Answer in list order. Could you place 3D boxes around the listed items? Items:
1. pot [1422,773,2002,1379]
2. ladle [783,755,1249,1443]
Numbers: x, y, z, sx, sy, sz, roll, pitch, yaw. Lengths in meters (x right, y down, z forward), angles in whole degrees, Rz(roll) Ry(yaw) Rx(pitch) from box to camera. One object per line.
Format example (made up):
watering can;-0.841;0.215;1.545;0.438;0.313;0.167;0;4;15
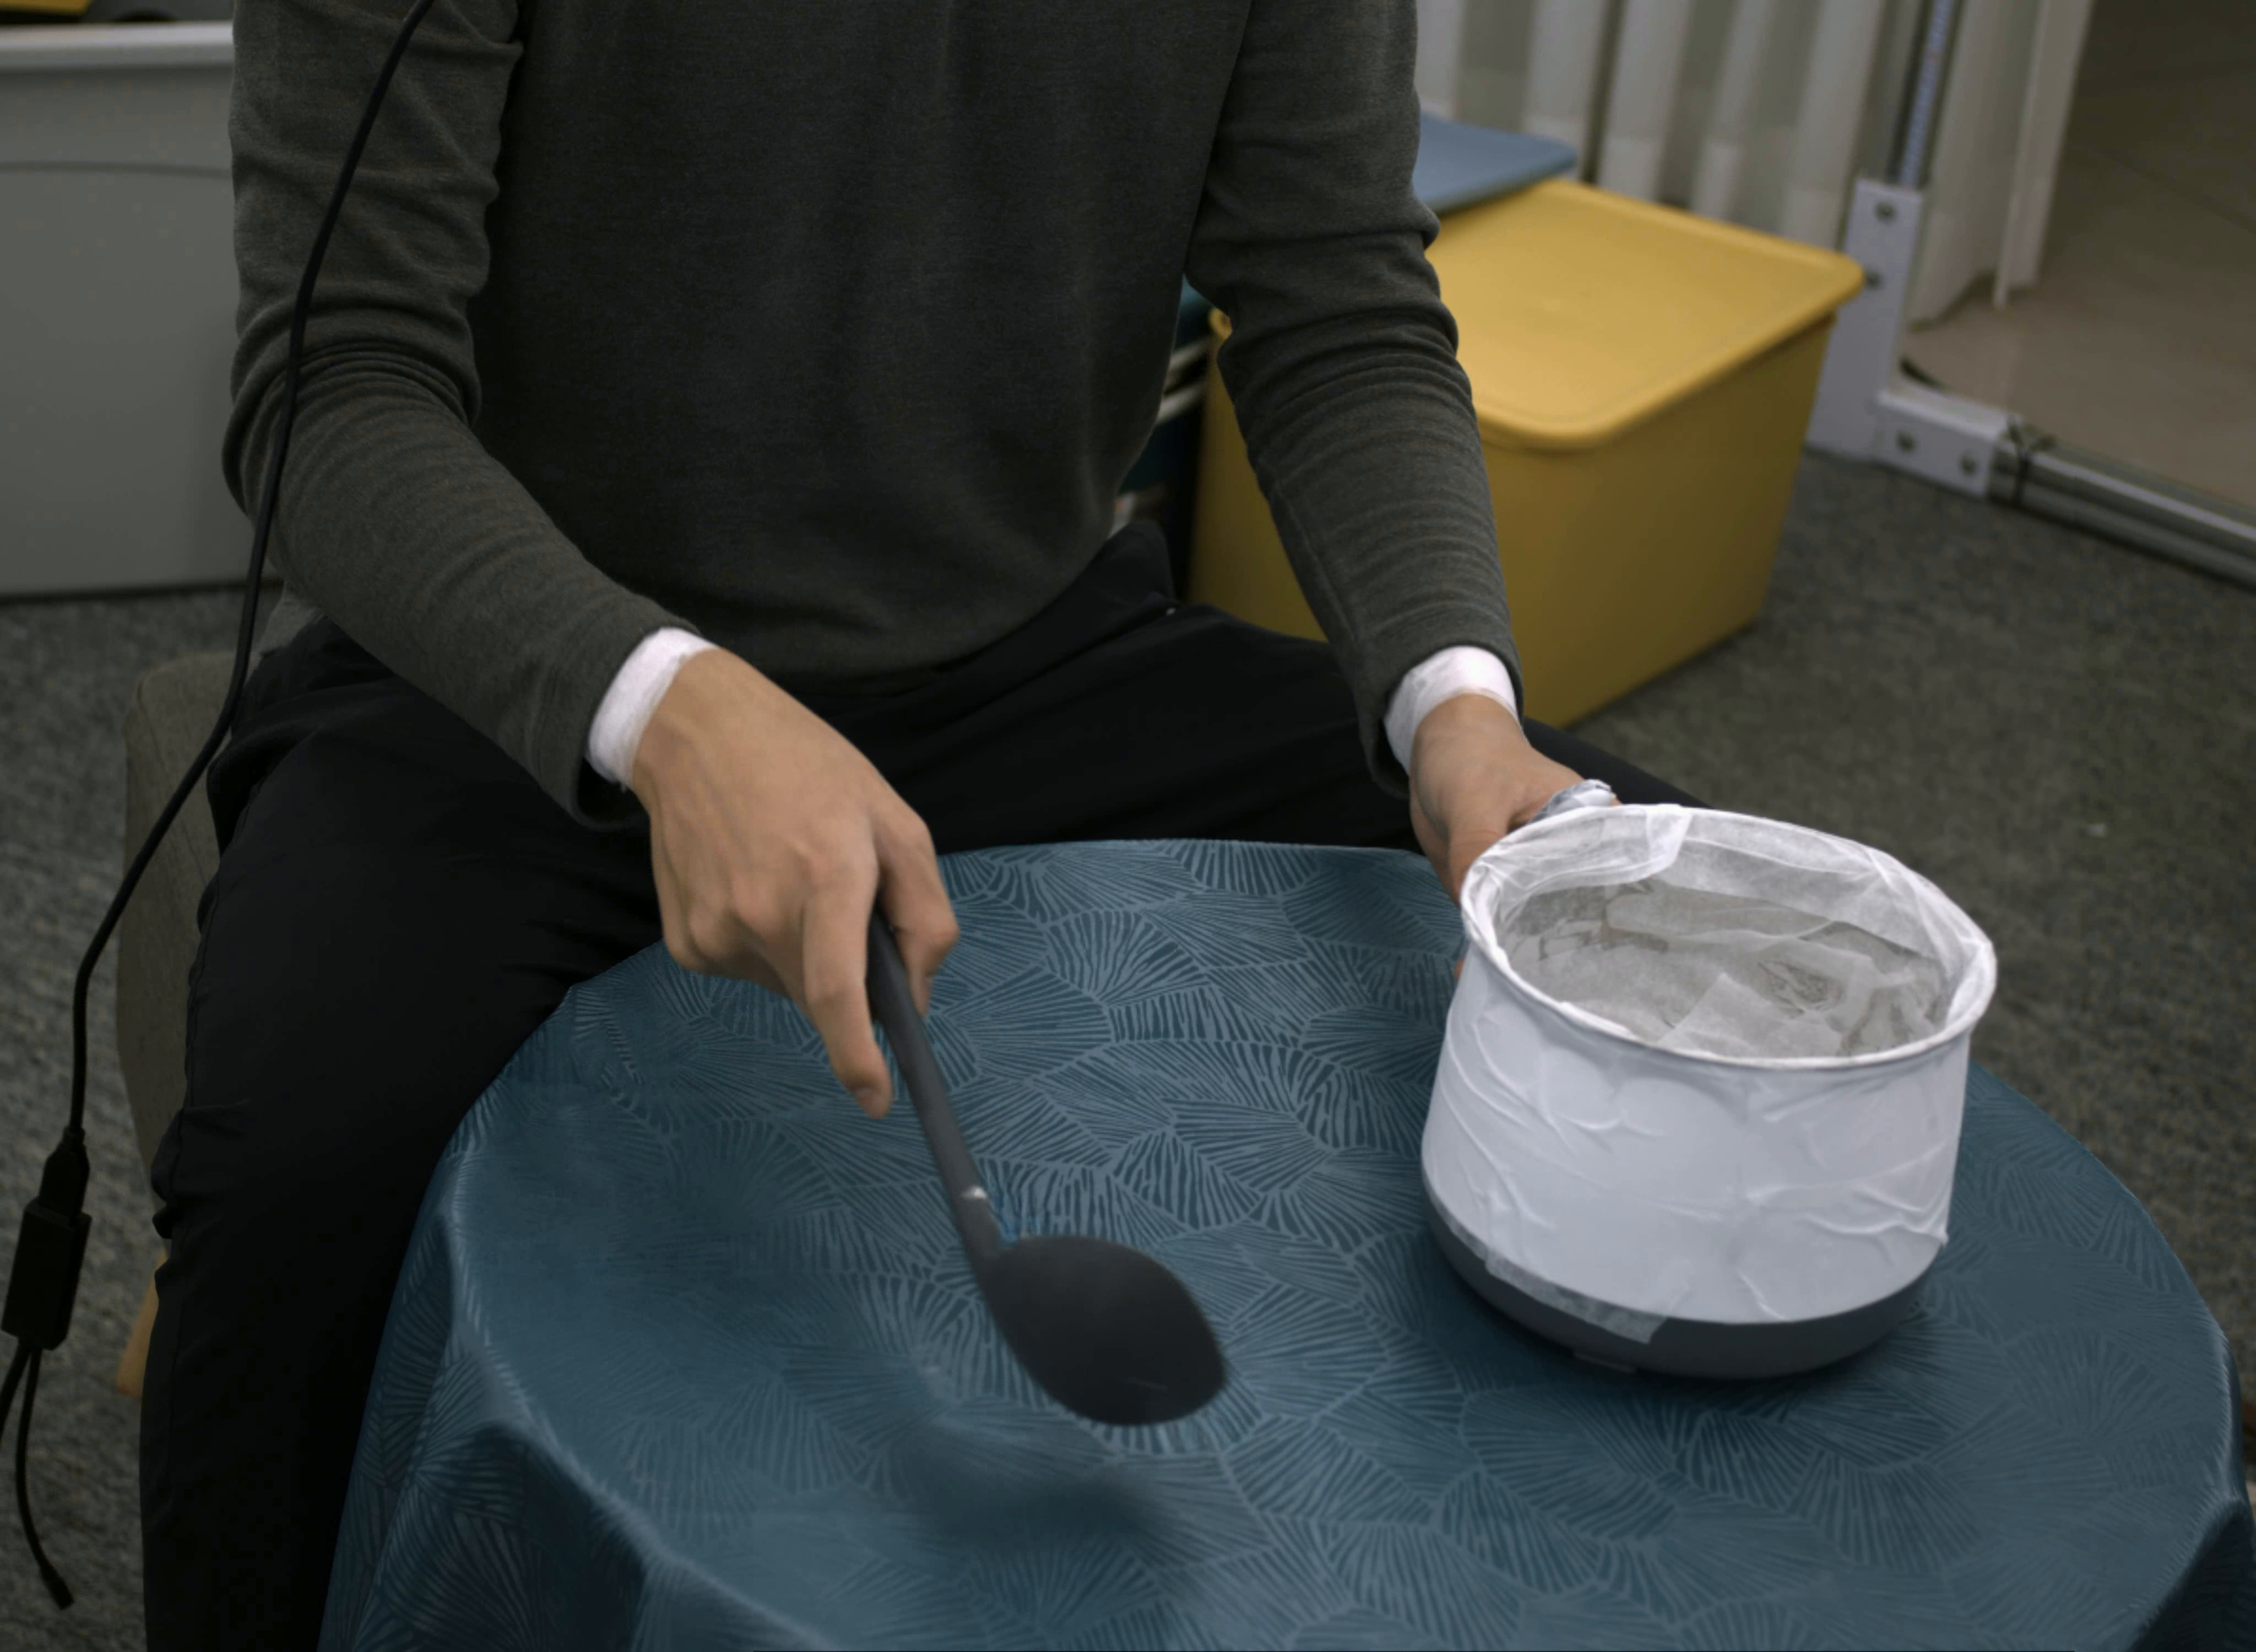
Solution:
pot;0.179;0.076;1.786;0.177;0.136;0.236;-5;29;-23
ladle;-0.042;0.073;1.701;0.064;0.085;0.317;-21;46;-4
